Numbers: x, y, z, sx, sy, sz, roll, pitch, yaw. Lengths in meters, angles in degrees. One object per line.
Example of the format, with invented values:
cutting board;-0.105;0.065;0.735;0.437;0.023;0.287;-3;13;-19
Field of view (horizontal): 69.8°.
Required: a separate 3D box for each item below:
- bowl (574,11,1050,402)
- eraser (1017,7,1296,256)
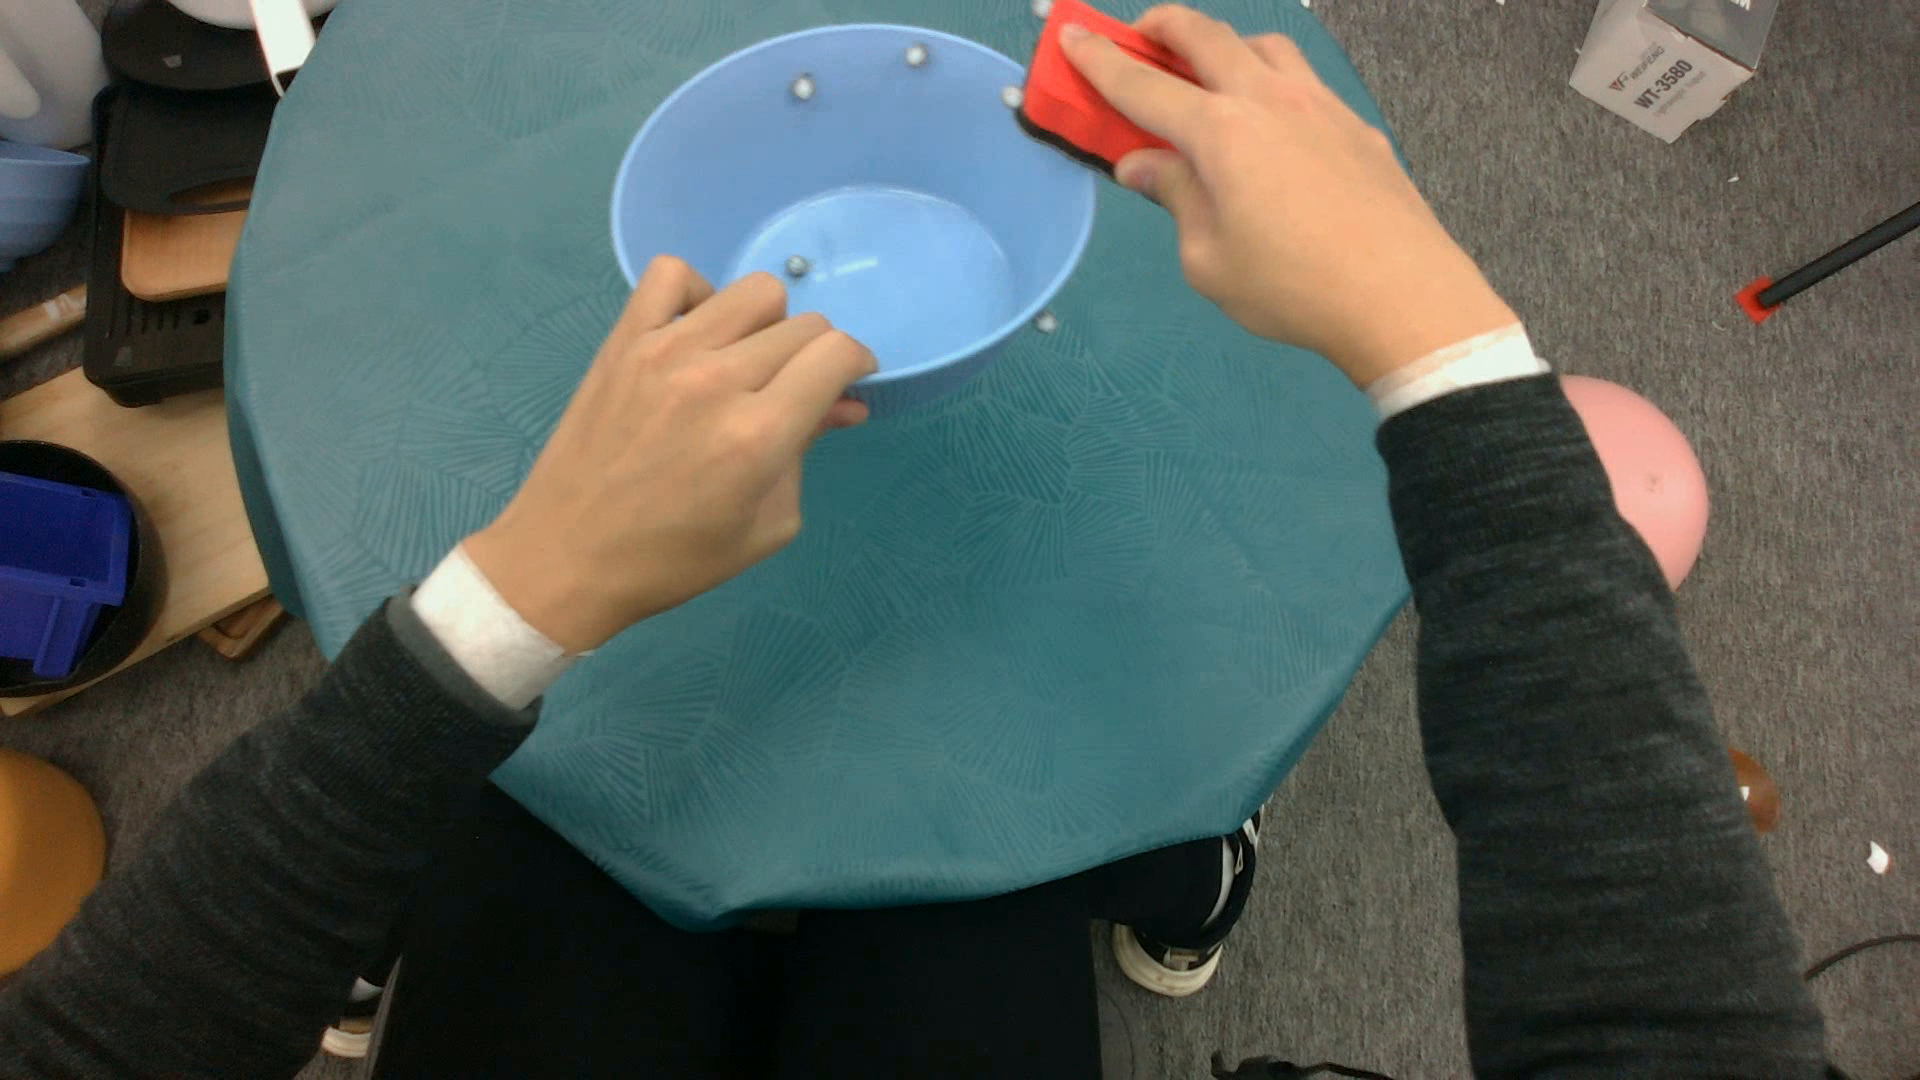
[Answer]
bowl;-0.054;-0.119;0.531;0.176;0.070;0.177;0;60;1
eraser;0.076;-0.155;0.522;0.108;0.023;0.059;25;51;-14
